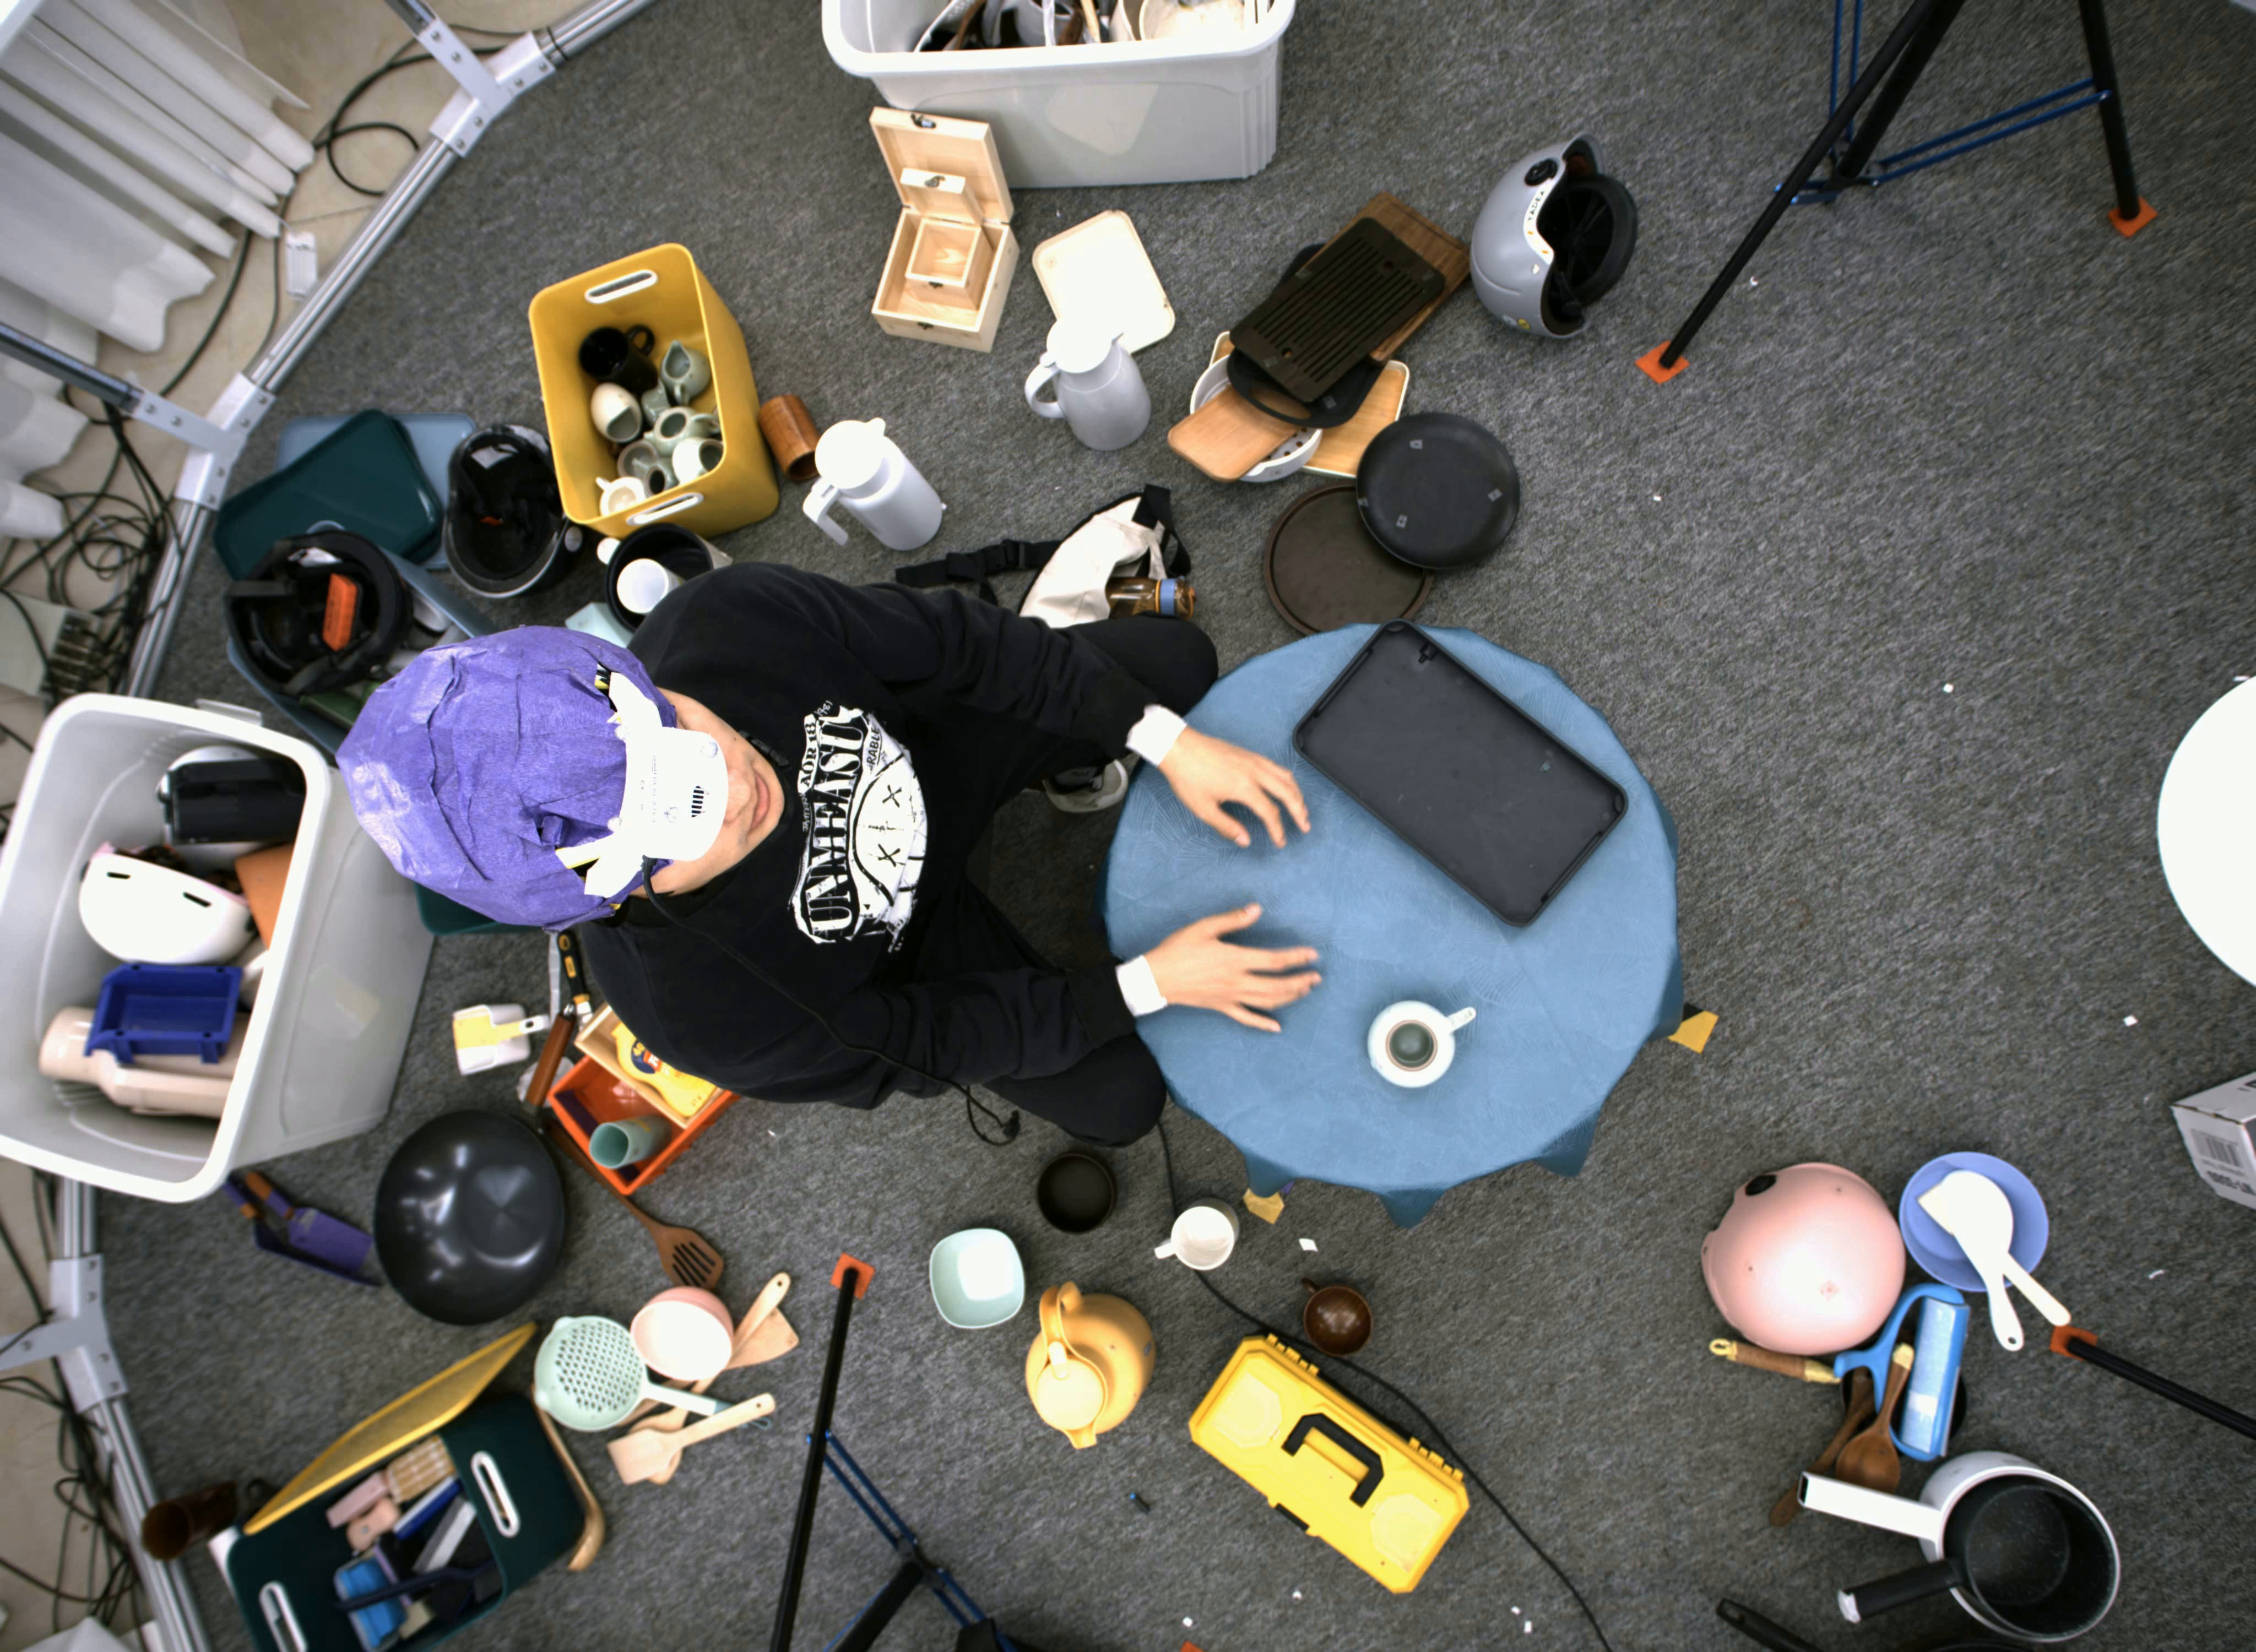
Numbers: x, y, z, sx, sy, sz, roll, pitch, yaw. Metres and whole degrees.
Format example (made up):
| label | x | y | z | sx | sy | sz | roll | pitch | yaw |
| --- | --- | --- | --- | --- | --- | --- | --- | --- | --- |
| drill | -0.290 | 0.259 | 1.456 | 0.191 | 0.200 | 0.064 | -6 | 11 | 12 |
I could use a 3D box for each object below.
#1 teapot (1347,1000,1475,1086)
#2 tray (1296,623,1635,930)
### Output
| label | x | y | z | sx | sy | sz | roll | pitch | yaw |
| --- | --- | --- | --- | --- | --- | --- | --- | --- | --- |
| teapot | 0.288 | 0.220 | 1.414 | 0.144 | 0.075 | 0.088 | -29 | 82 | 6 |
| tray | 0.348 | -0.054 | 1.434 | 0.317 | 0.037 | 0.185 | 39 | 94 | 10 |
